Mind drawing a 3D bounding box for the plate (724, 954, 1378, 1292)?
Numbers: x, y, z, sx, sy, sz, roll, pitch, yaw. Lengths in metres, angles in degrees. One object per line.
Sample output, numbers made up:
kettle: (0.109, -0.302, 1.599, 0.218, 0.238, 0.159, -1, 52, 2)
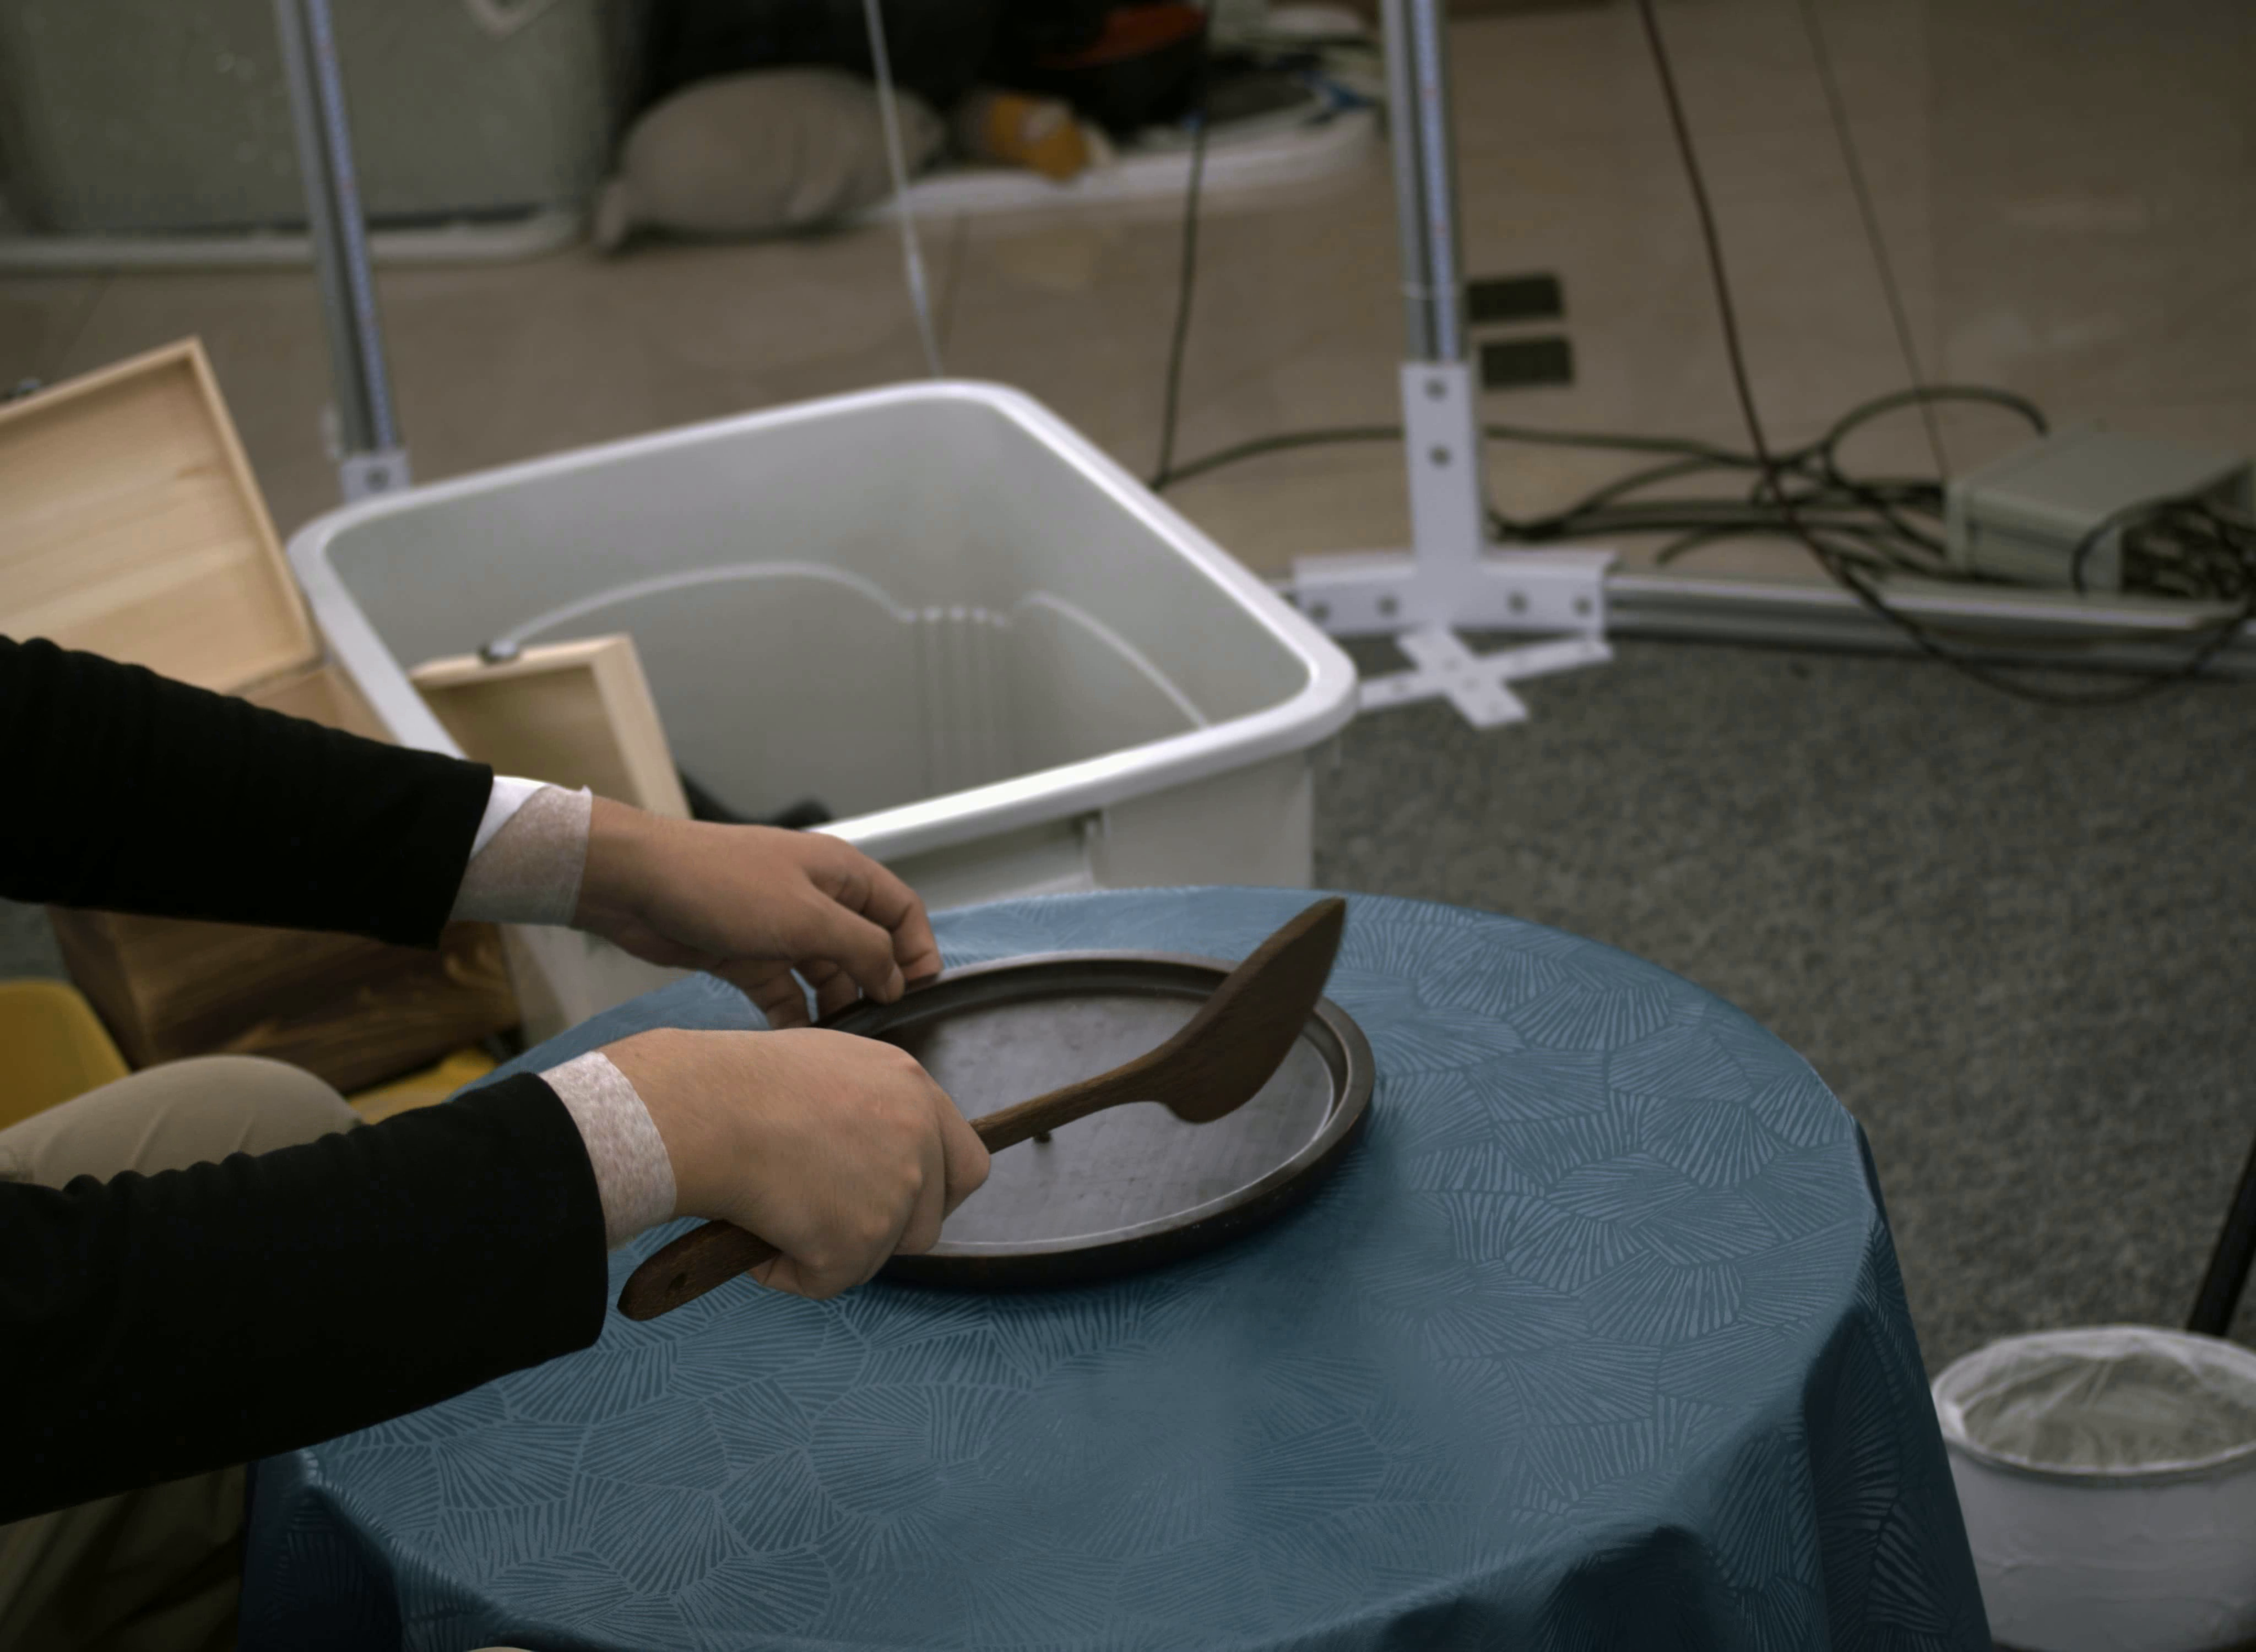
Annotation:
plate: (-0.029, 0.112, 2.184, 0.254, 0.029, 0.251, -5, 26, 3)

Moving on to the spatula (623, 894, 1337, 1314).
spatula: (-0.046, 0.105, 1.978, 0.015, 0.097, 0.383, 38, 34, 25)
